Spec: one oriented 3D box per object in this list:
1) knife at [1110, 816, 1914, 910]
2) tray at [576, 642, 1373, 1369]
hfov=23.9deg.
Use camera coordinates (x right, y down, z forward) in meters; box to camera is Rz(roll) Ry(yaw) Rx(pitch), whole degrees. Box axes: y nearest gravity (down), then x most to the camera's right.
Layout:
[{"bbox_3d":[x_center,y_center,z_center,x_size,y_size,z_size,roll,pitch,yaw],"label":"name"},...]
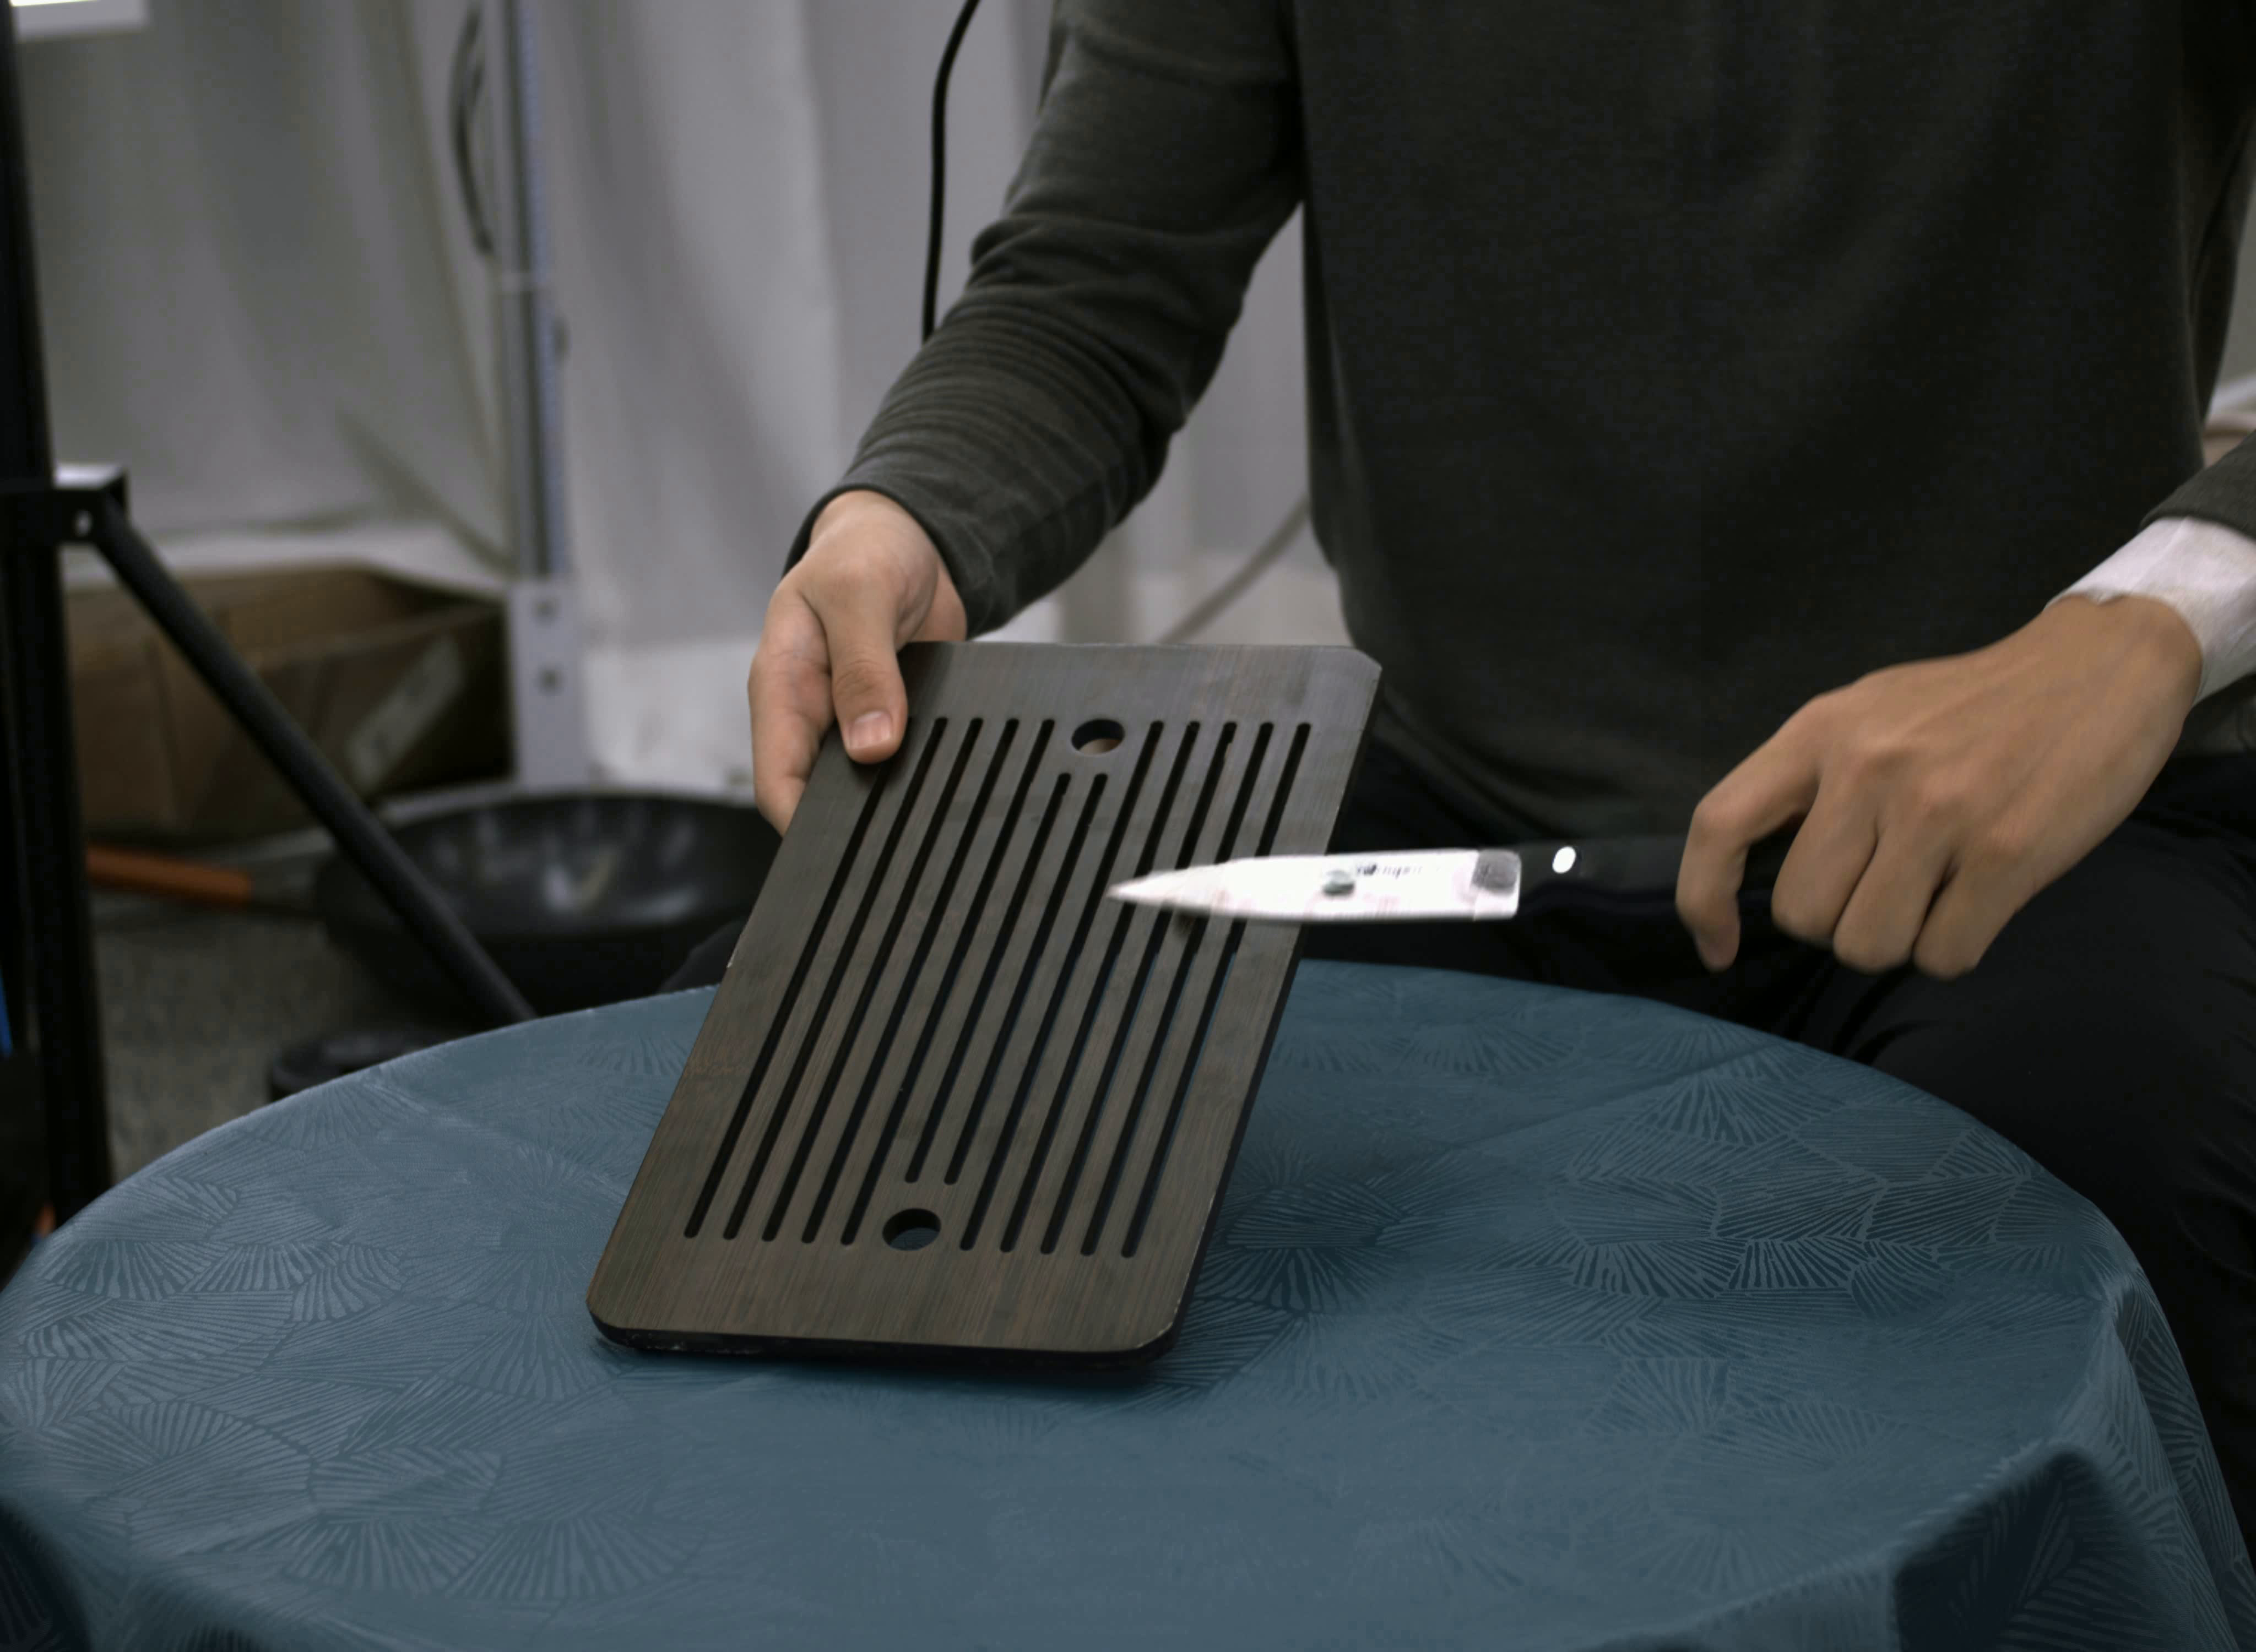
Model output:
[{"bbox_3d":[0.107,0.012,1.516,0.241,0.016,0.024,-3,56,22],"label":"knife"},{"bbox_3d":[-0.038,0.047,1.543,0.172,0.018,0.306,0,40,18],"label":"tray"}]
